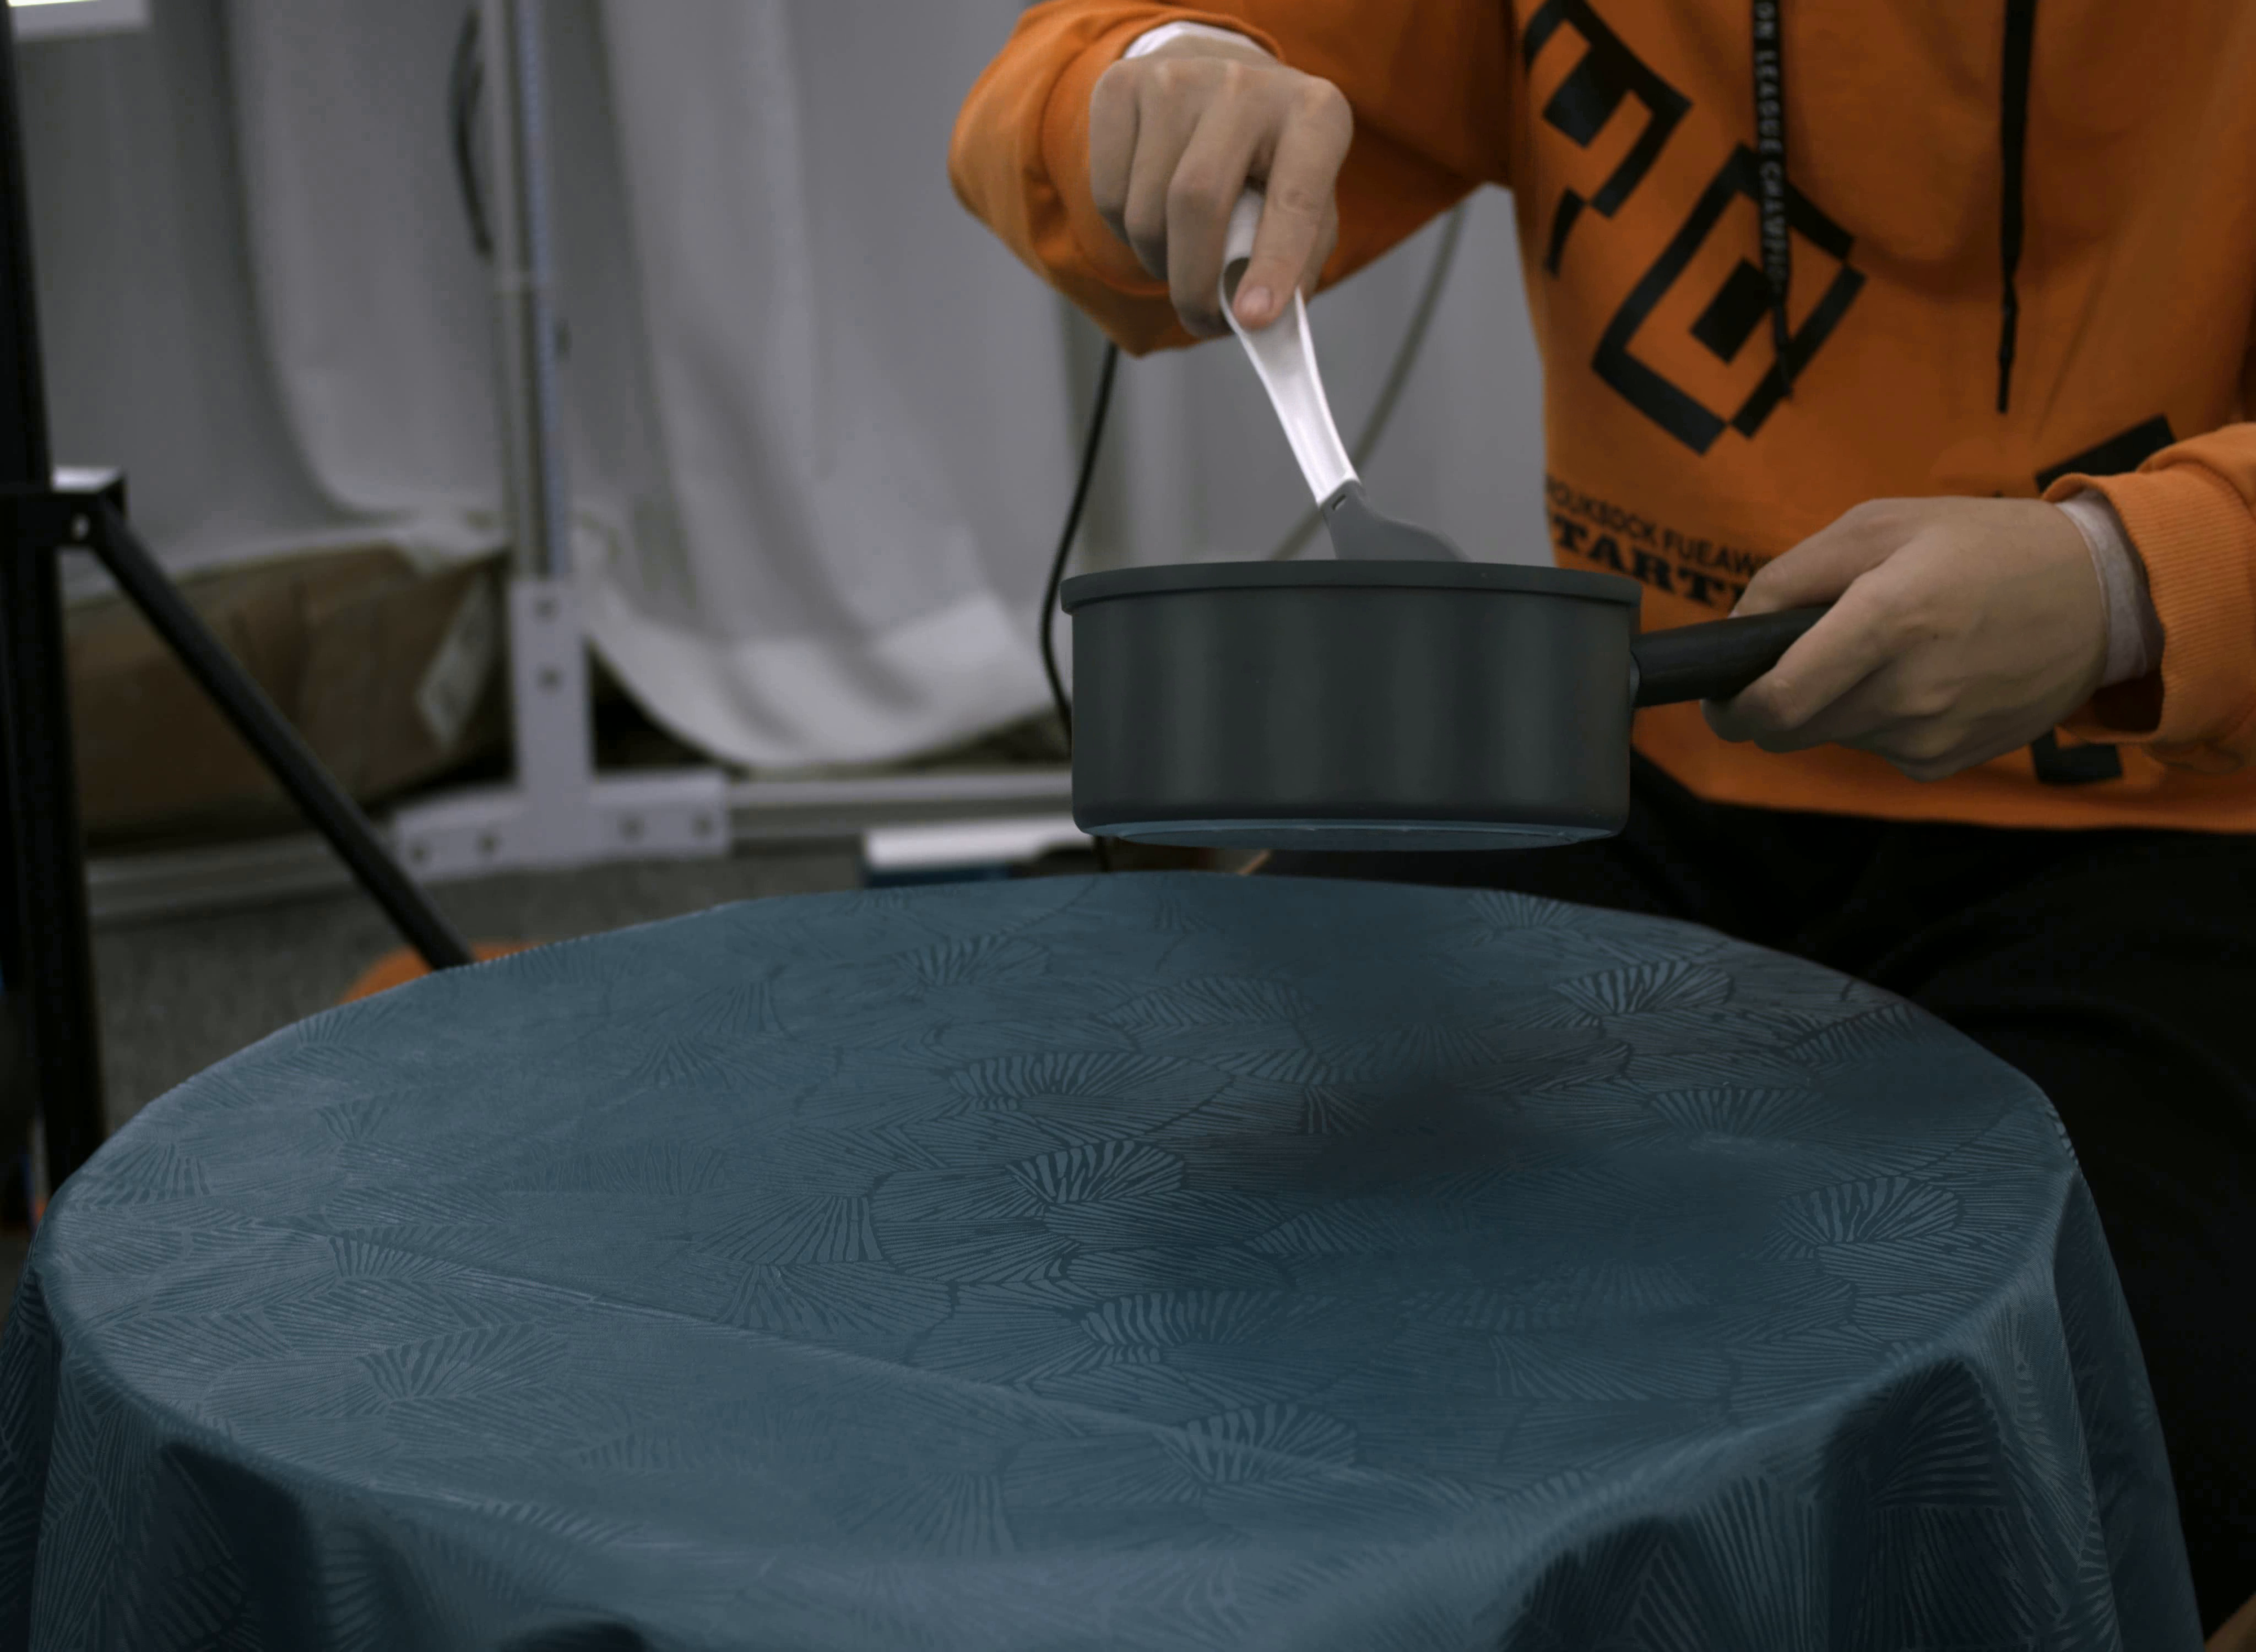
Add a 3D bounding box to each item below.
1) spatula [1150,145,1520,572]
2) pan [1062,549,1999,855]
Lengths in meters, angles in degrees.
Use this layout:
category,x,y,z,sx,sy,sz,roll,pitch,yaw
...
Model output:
category,x,y,z,sx,sy,sz,roll,pitch,yaw
spatula,0.067,-0.123,1.670,0.031,0.059,0.293,33,21,-39
pan,0.131,-0.034,1.596,0.320,0.087,0.175,1,-2,-32
